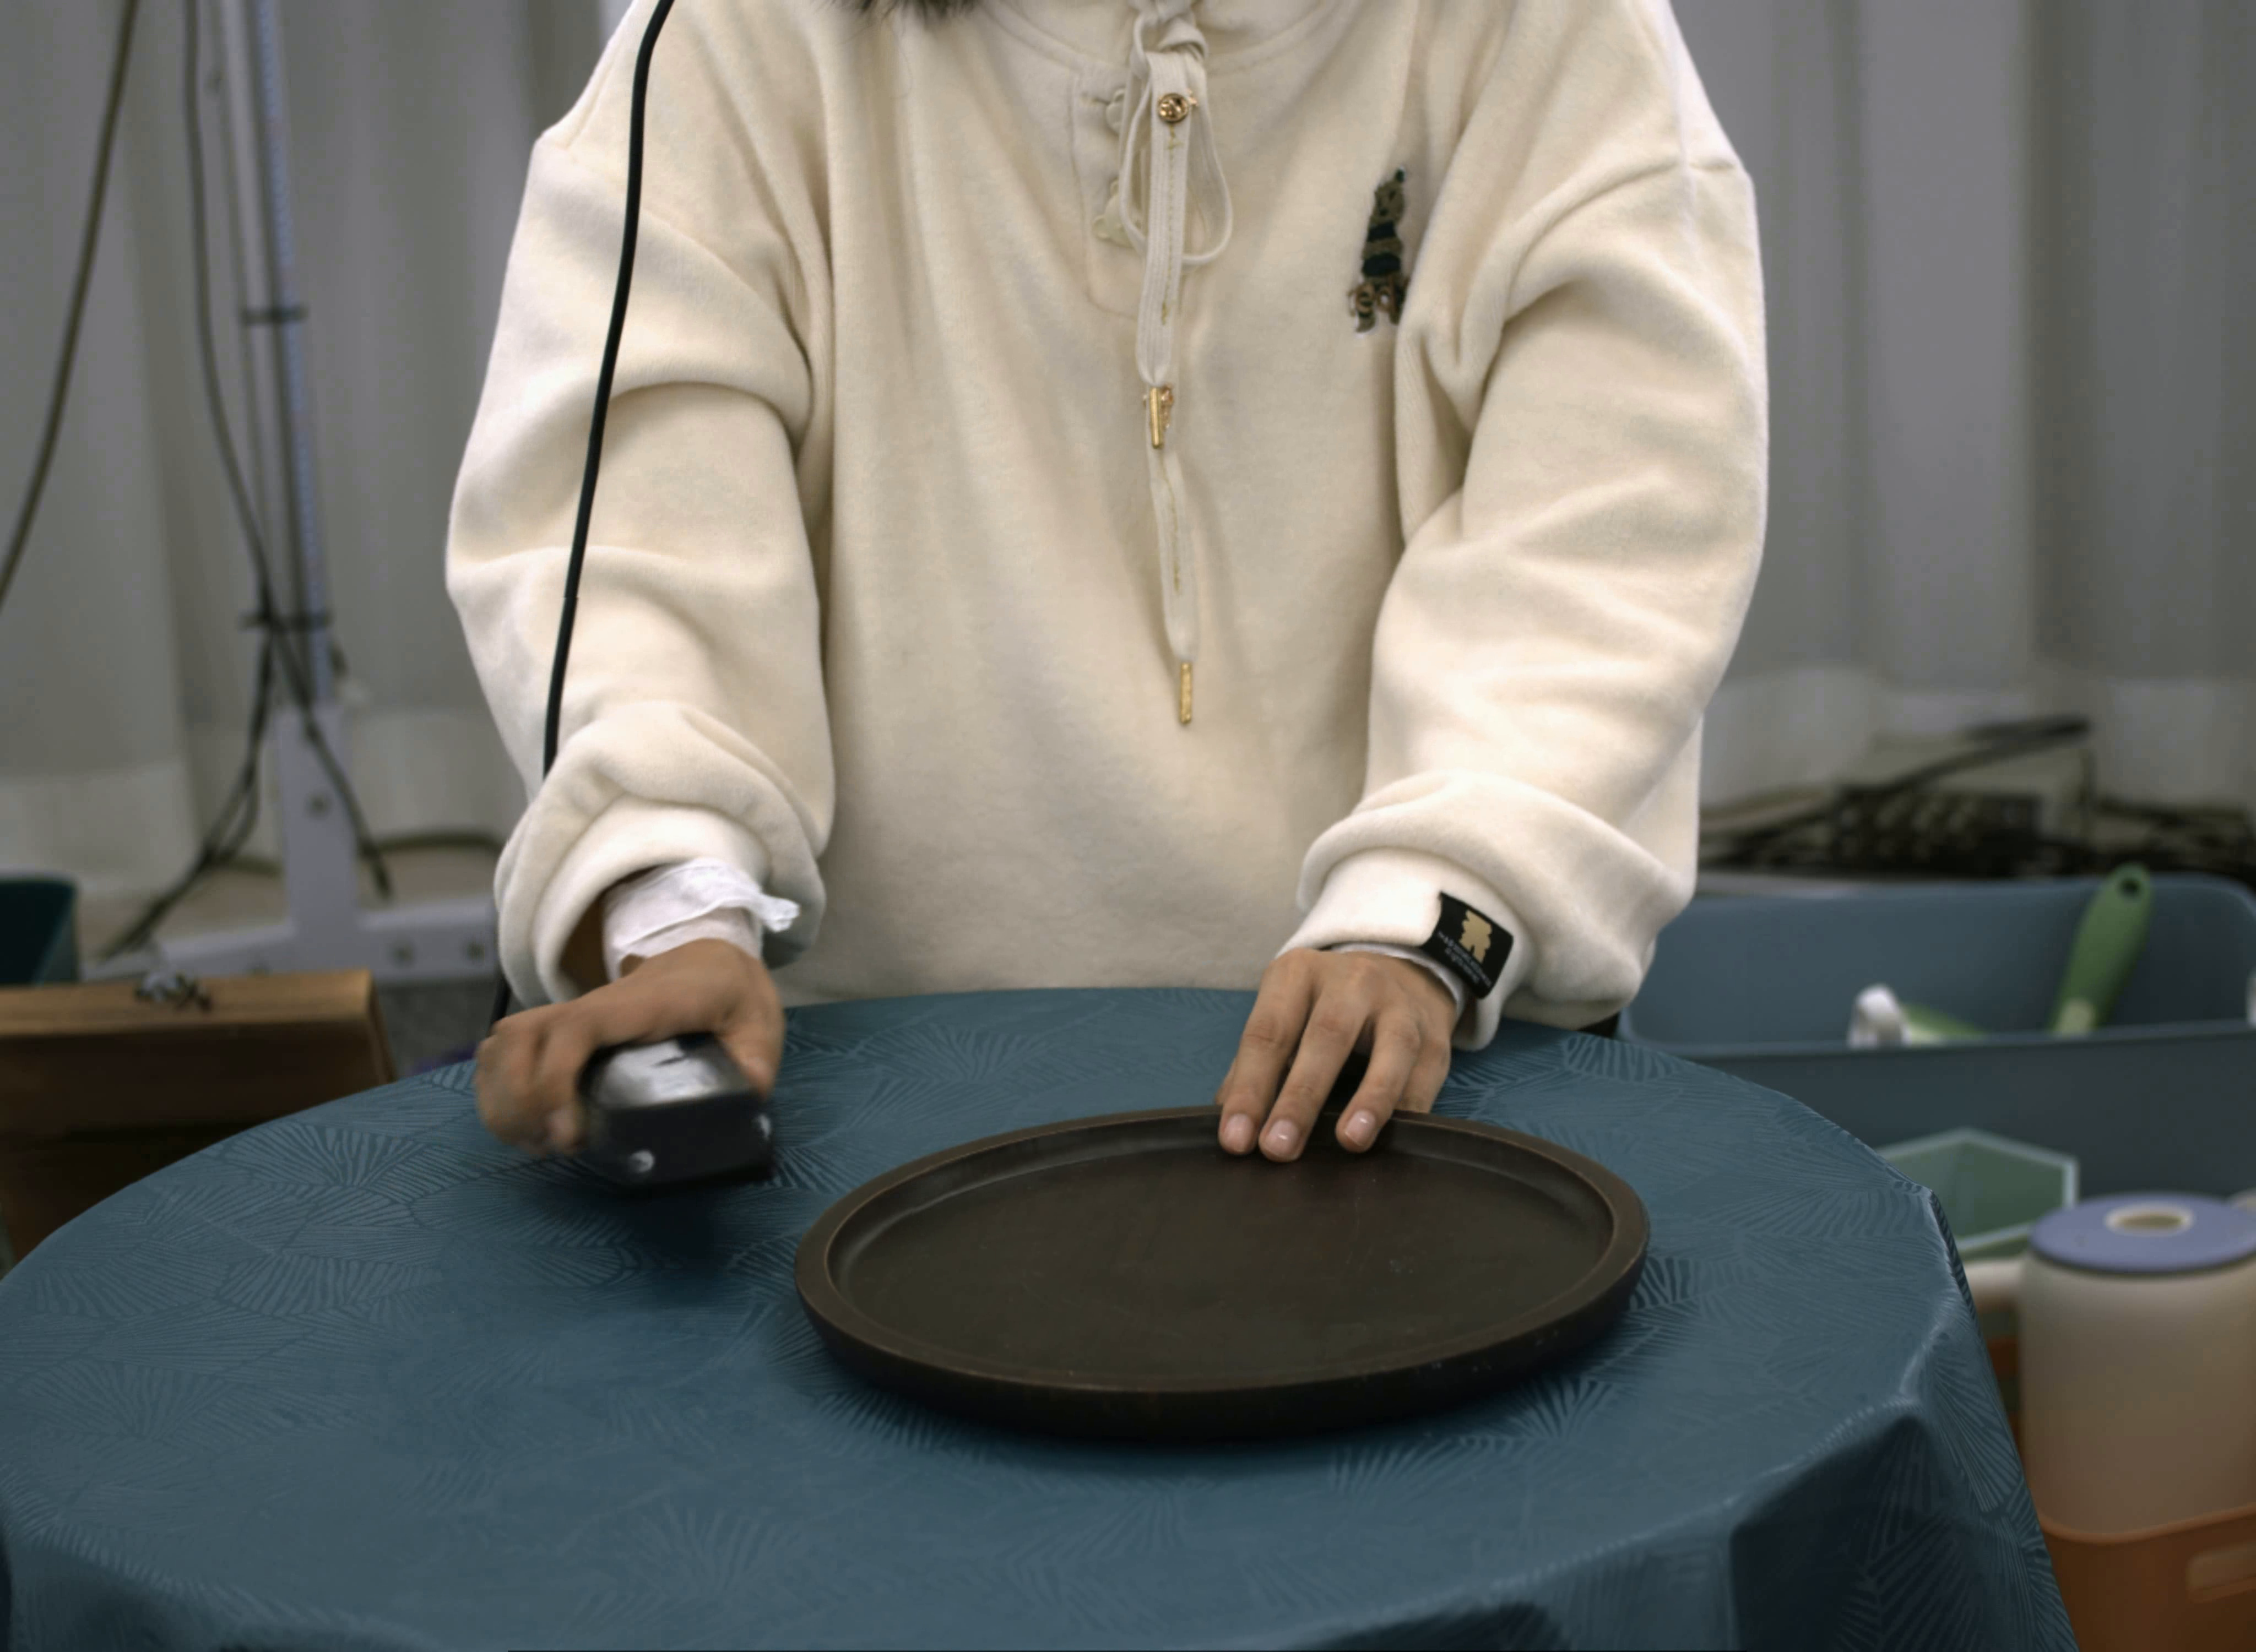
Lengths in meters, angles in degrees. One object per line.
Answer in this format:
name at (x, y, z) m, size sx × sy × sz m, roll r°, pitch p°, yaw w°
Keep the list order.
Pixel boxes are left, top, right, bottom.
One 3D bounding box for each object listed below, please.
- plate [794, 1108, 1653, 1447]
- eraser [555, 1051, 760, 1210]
plate at (0.028, 0.129, 1.606) m, size 0.254 × 0.029 × 0.256 m, roll -3°, pitch 16°, yaw 1°
eraser at (-0.146, 0.094, 1.698) m, size 0.053 × 0.030 × 0.126 m, roll -6°, pitch 7°, yaw -10°
